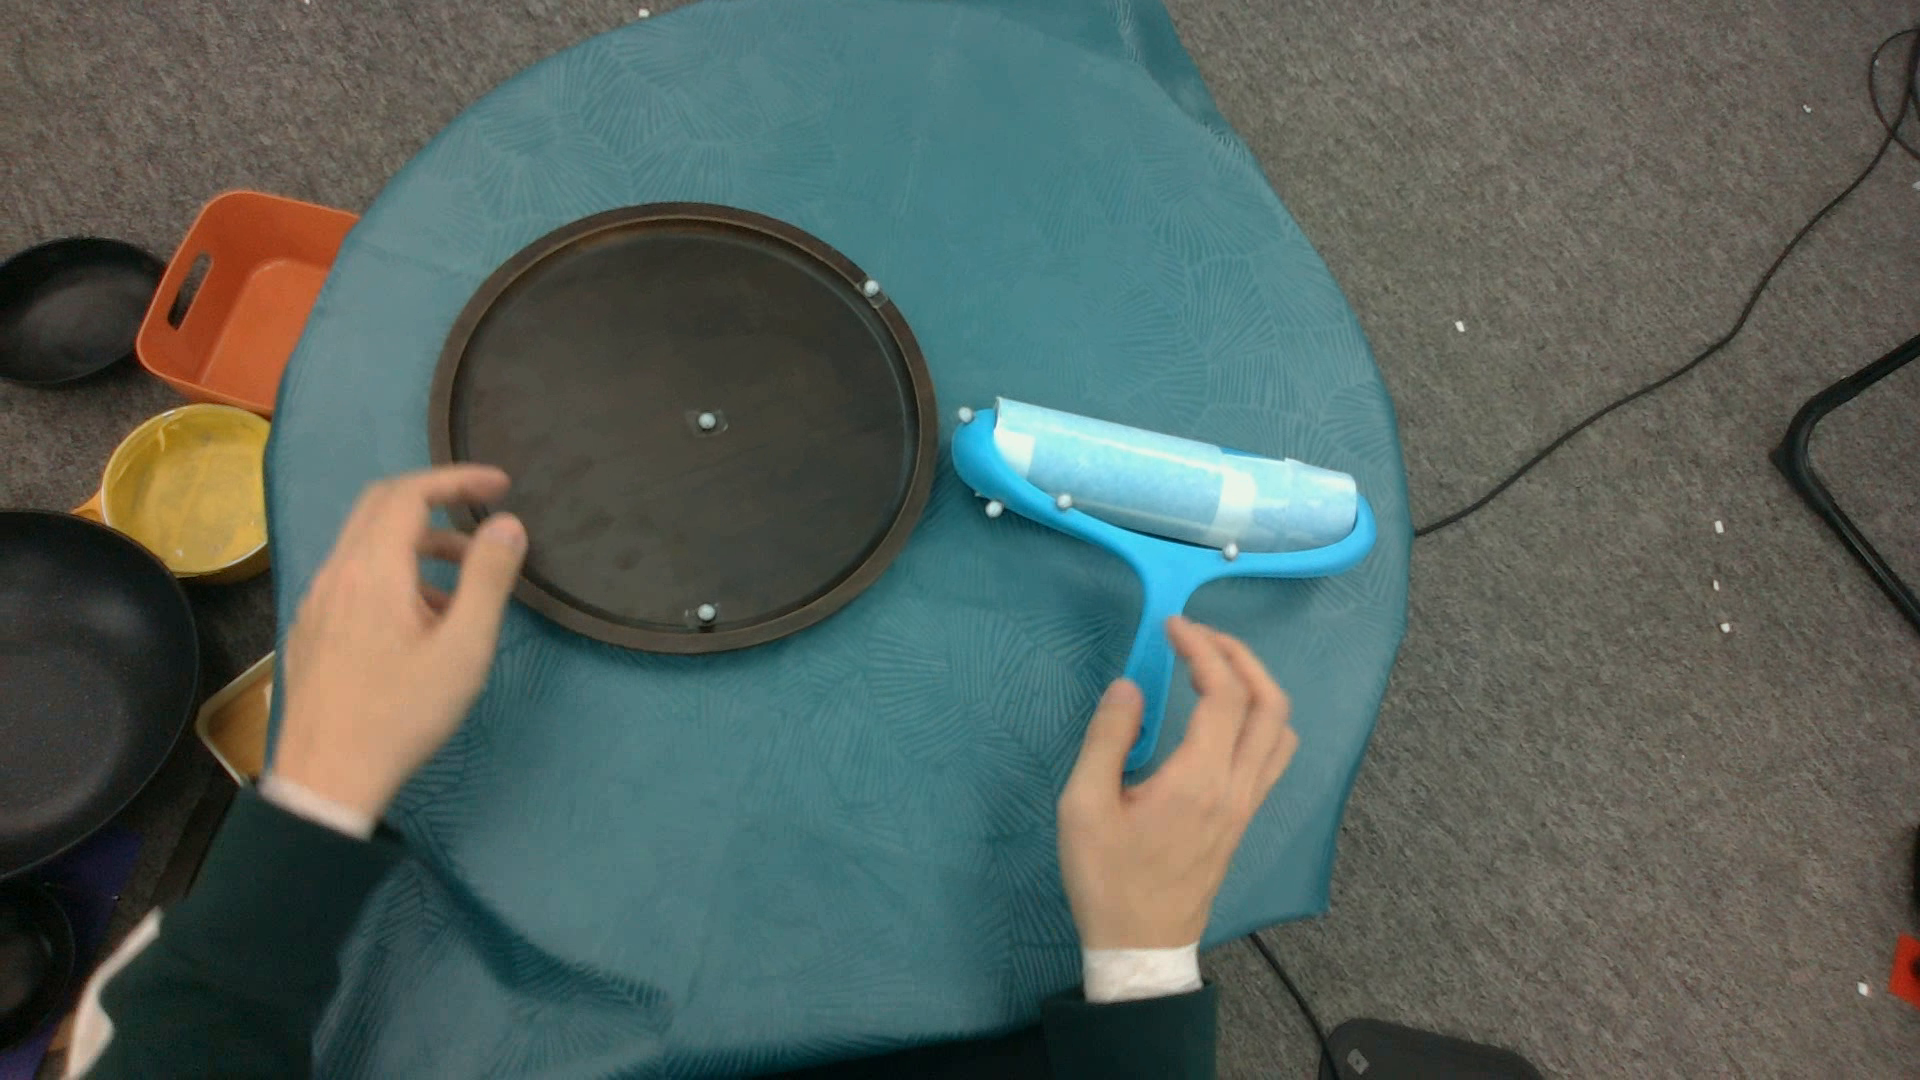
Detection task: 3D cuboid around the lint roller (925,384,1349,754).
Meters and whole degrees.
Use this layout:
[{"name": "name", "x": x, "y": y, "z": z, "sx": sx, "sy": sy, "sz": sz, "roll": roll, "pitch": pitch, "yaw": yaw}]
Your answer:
[{"name": "lint roller", "x": 0.091, "y": 0.015, "z": 0.704, "sx": 0.229, "sy": 0.067, "sz": 0.181, "roll": 8, "pitch": 67, "yaw": -10}]

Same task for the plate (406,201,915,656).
[{"name": "plate", "x": -0.149, "y": -0.061, "z": 0.705, "sx": 0.255, "sy": 0.029, "sz": 0.255, "roll": 4, "pitch": 68, "yaw": -10}]
